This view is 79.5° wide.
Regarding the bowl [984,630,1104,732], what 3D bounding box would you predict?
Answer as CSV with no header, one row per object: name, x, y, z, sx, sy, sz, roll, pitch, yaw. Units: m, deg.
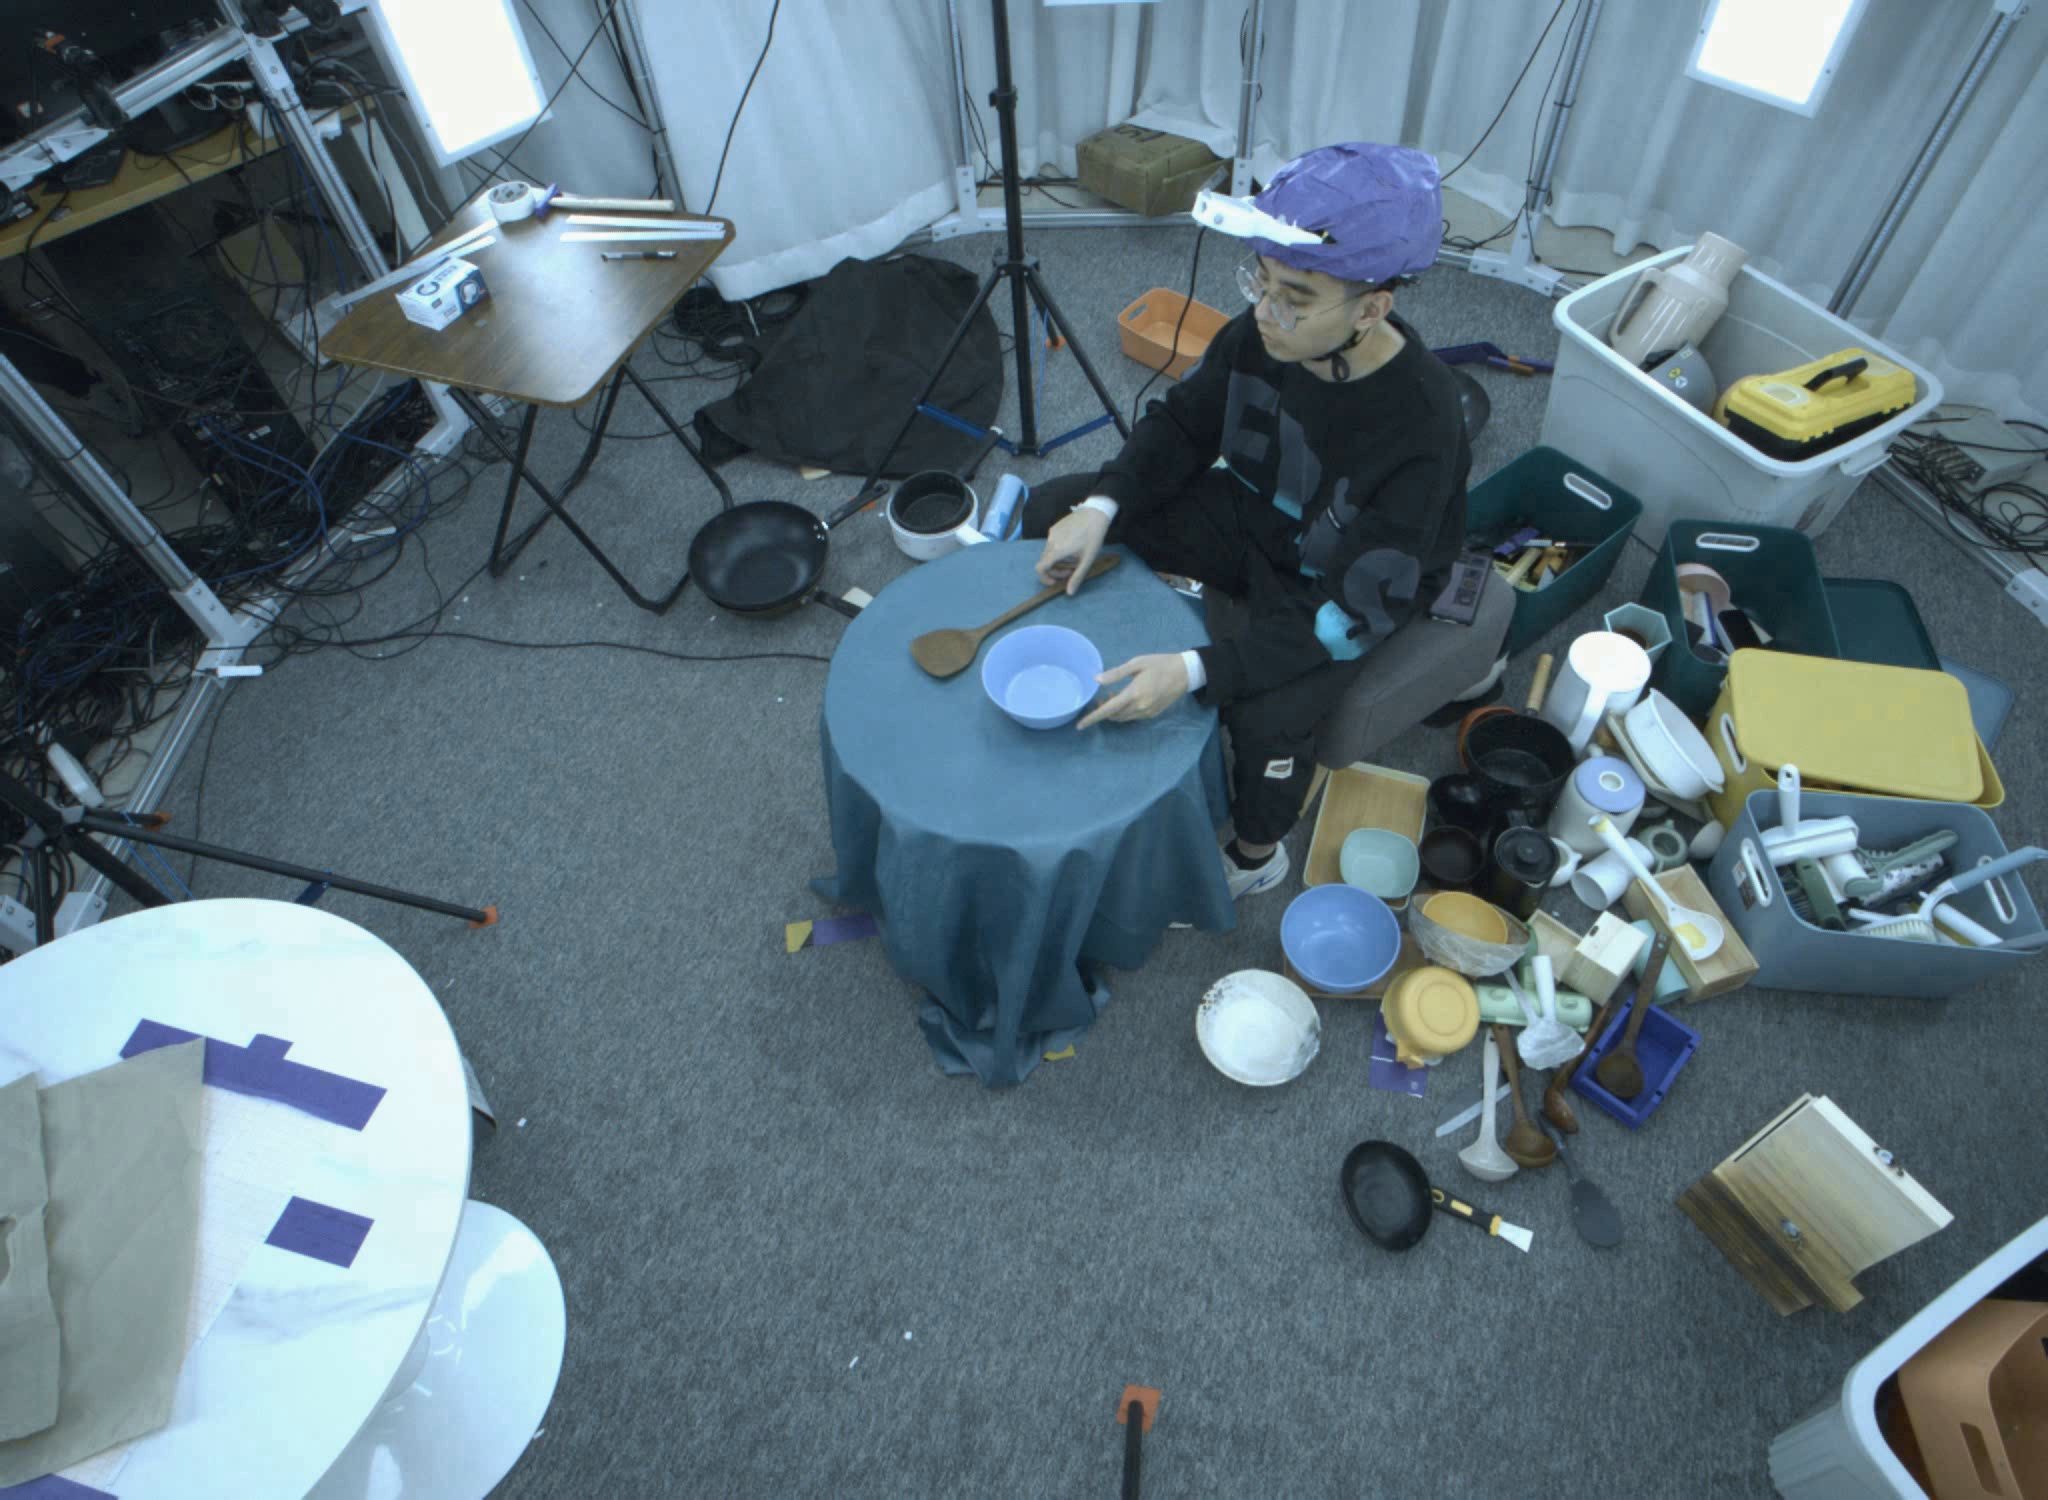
bowl,0.029,-0.092,1.819,0.176,0.071,0.174,0,54,1

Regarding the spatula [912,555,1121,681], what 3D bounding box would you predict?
spatula,-0.001,-0.221,1.945,0.389,0.016,0.094,-31,60,-19
